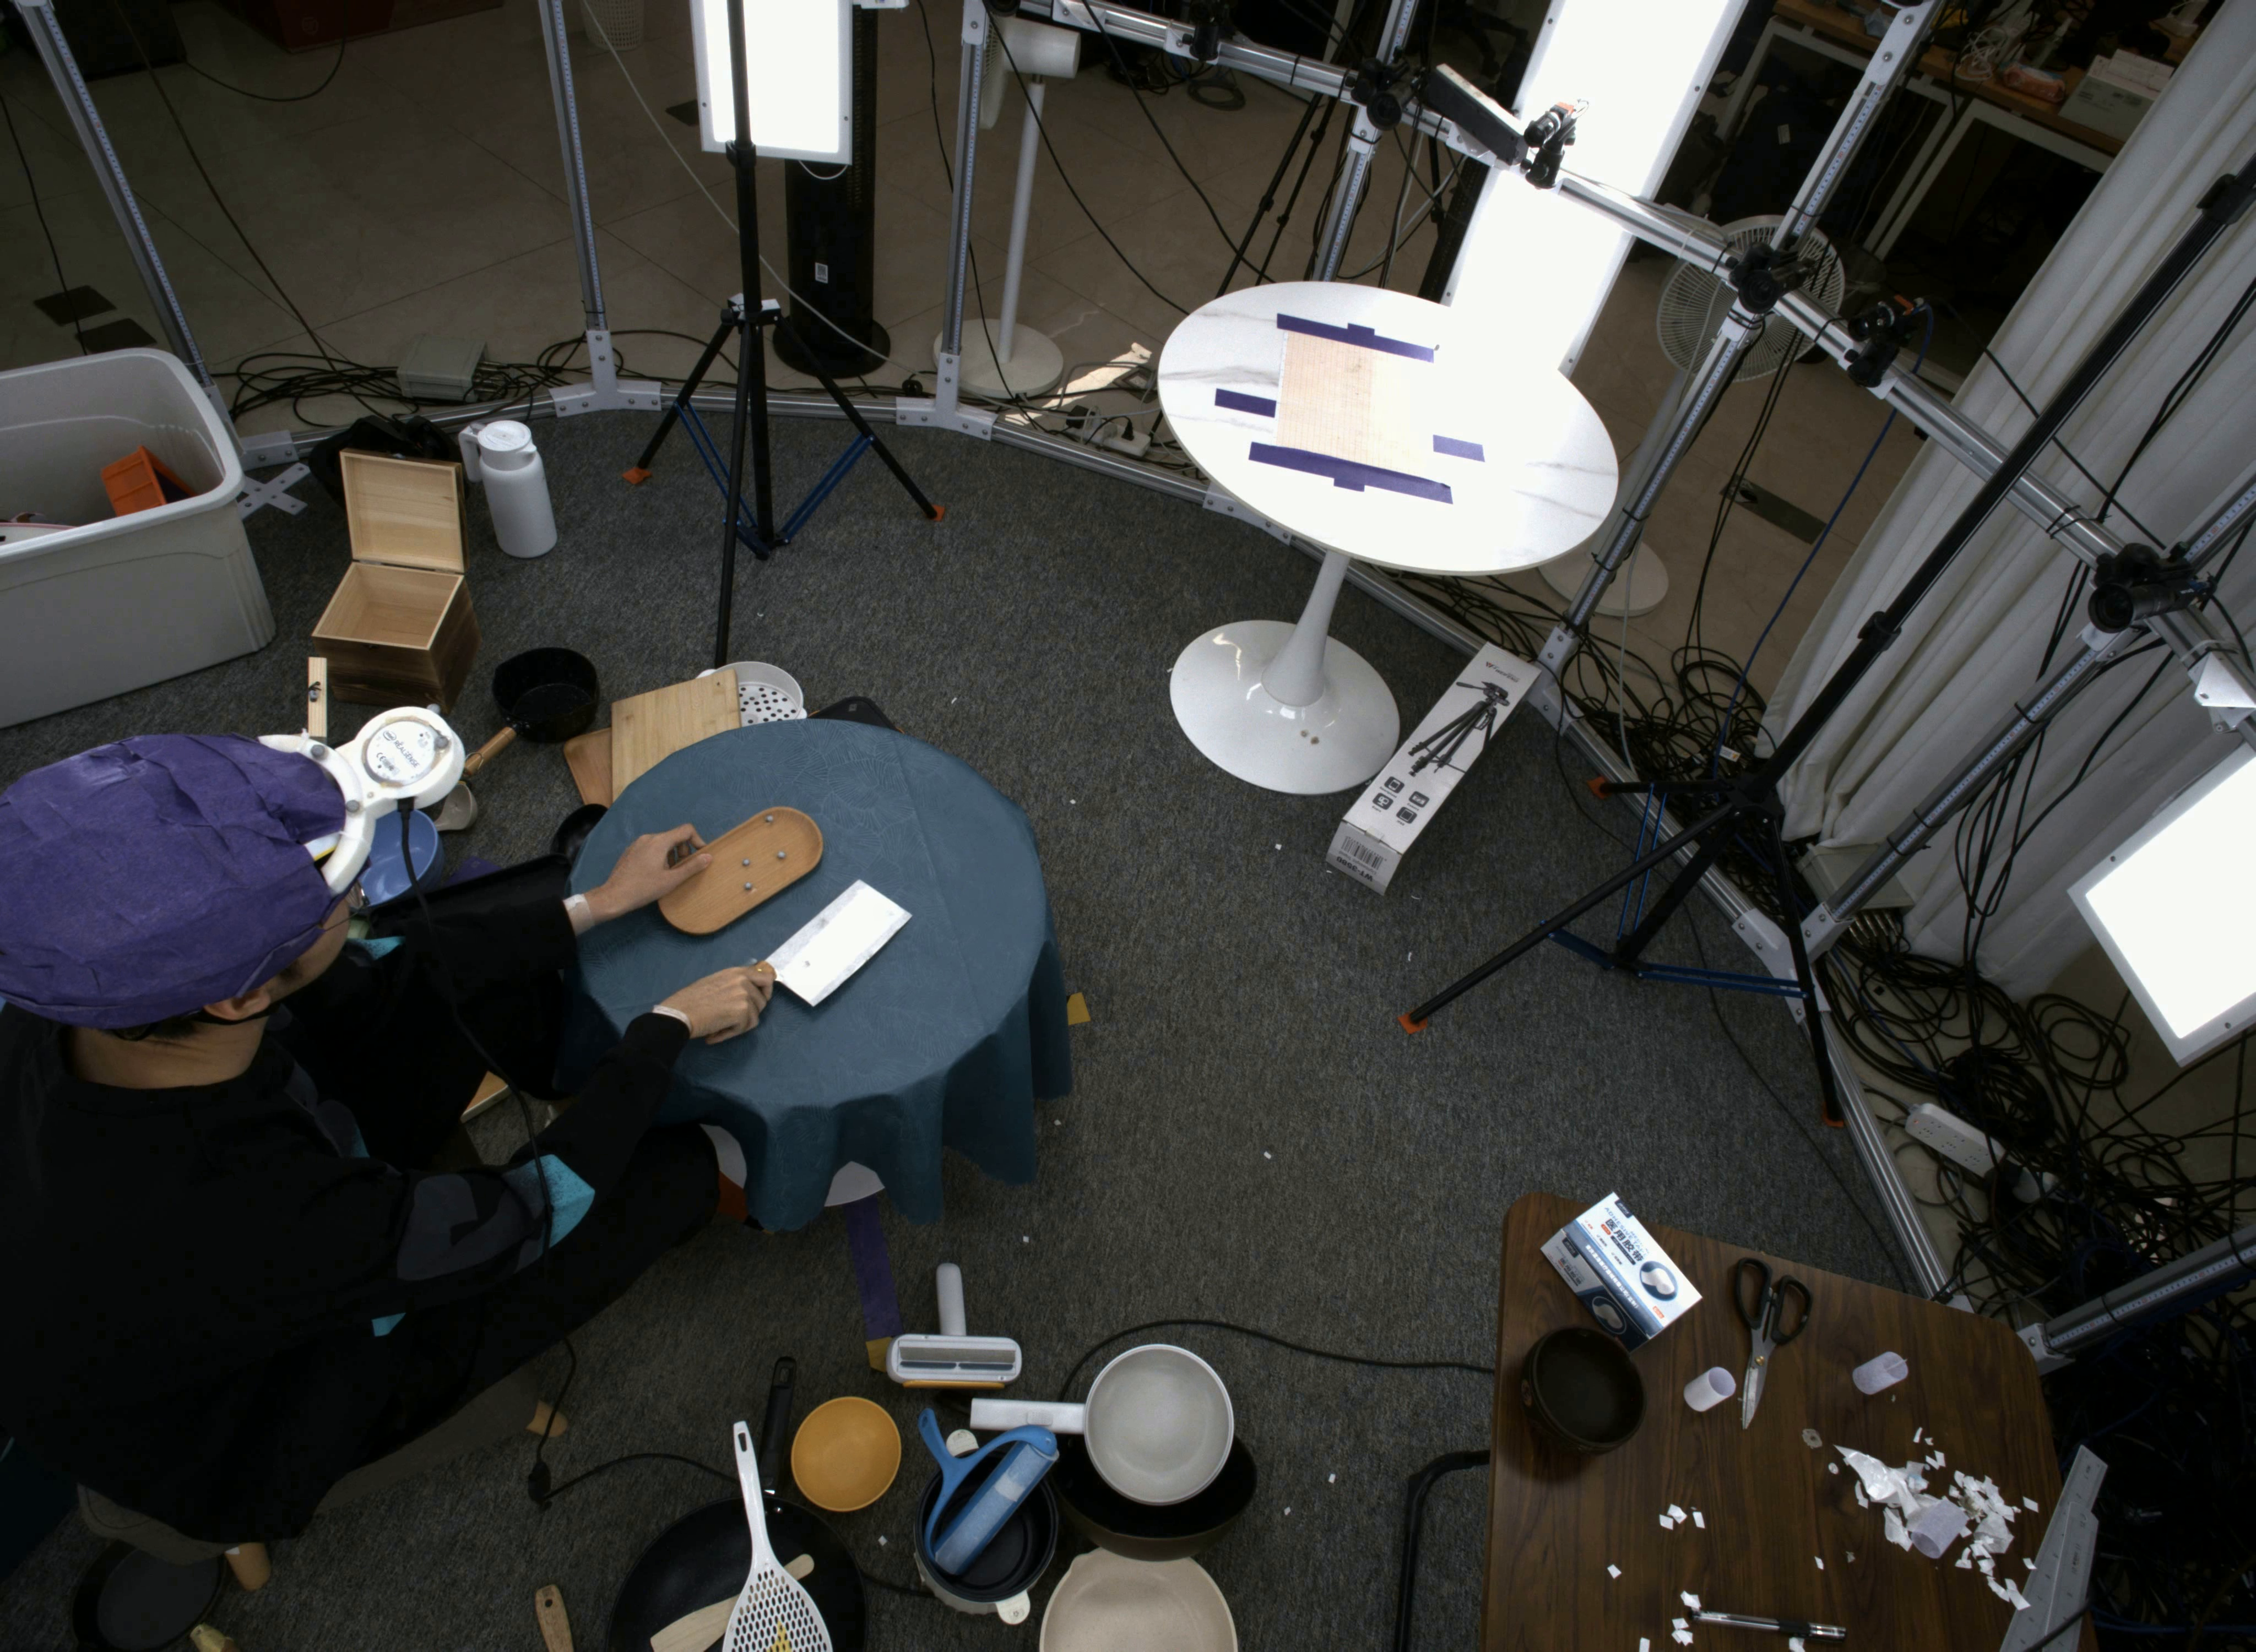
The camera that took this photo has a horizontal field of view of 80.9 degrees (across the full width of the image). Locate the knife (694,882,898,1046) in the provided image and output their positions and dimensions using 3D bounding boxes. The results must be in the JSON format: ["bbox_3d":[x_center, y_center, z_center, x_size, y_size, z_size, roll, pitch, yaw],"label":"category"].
[{"bbox_3d":[-0.390,0.171,1.571,0.091,0.021,0.305,33,46,11],"label":"knife"}]

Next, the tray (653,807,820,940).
[{"bbox_3d":[-0.491,0.057,1.626,0.231,0.020,0.101,-37,88,-33],"label":"tray"}]
